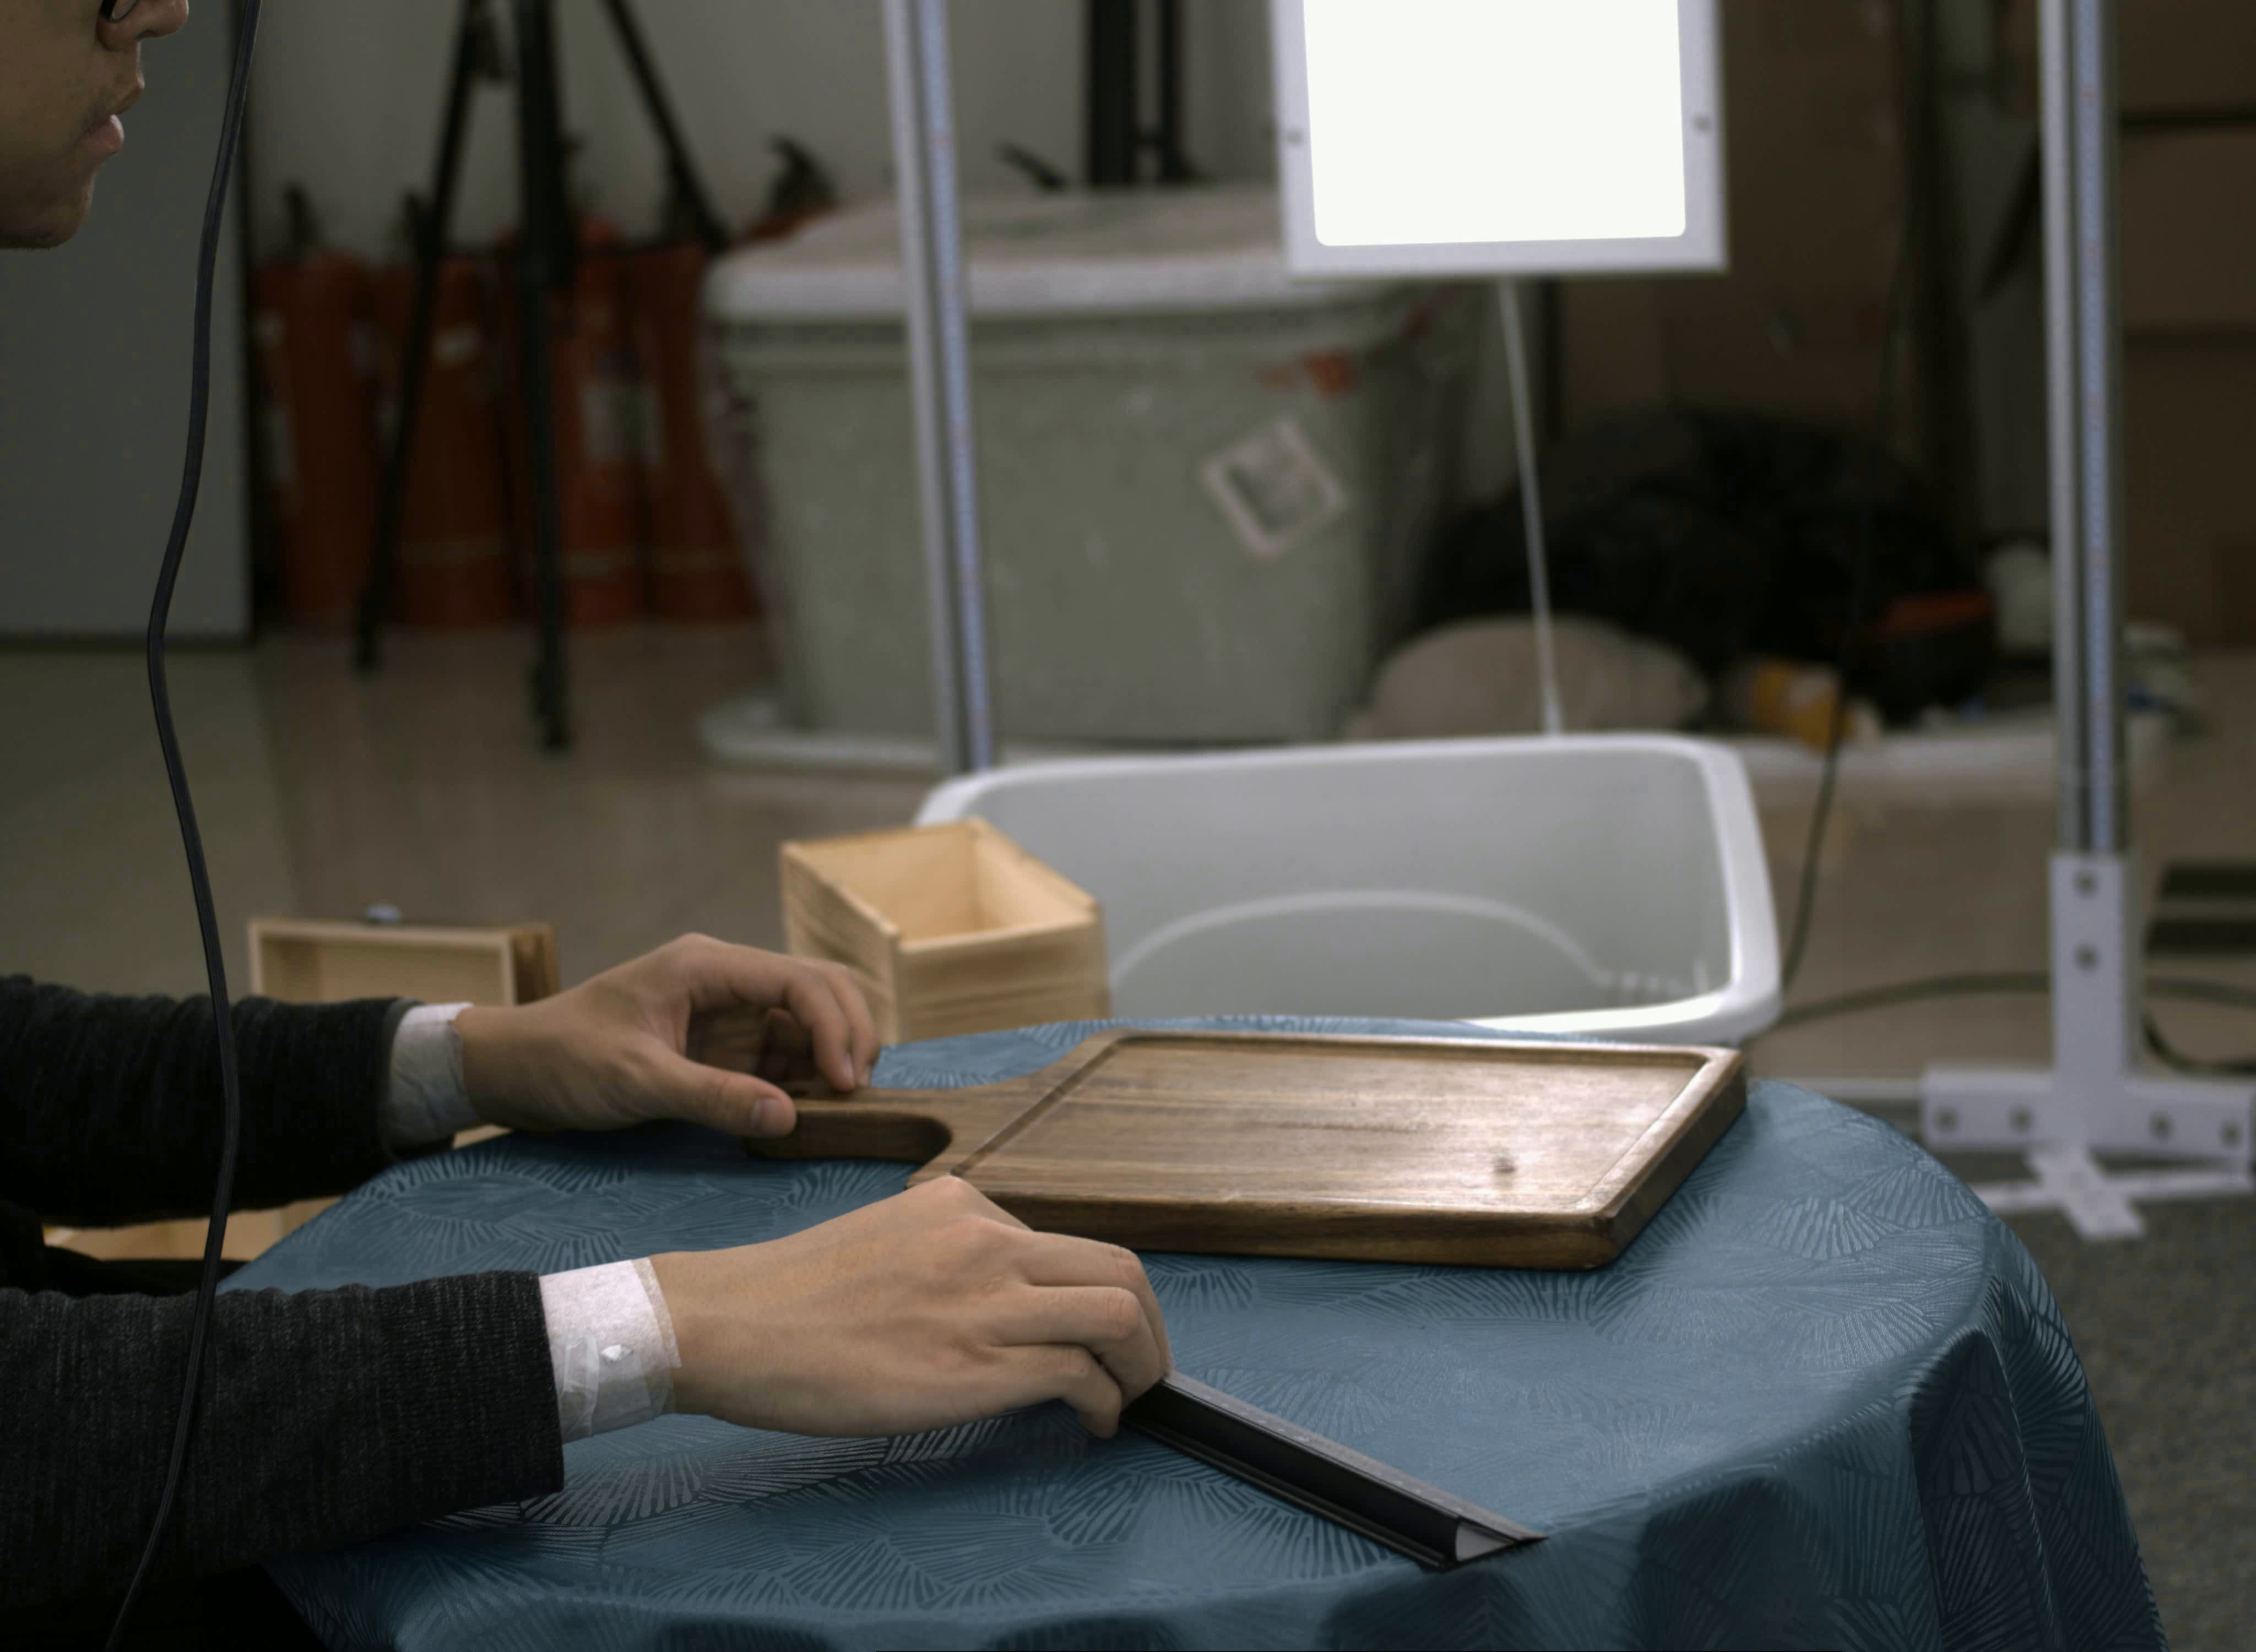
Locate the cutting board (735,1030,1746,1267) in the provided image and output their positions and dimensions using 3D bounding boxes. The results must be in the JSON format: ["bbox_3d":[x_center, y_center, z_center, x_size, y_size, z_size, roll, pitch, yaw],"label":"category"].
[{"bbox_3d":[0.026,0.108,1.921,0.357,0.023,0.197,0,15,23],"label":"cutting board"}]

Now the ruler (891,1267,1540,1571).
[{"bbox_3d":[0.020,0.173,1.670,0.038,0.017,0.318,-10,14,-30],"label":"ruler"}]
